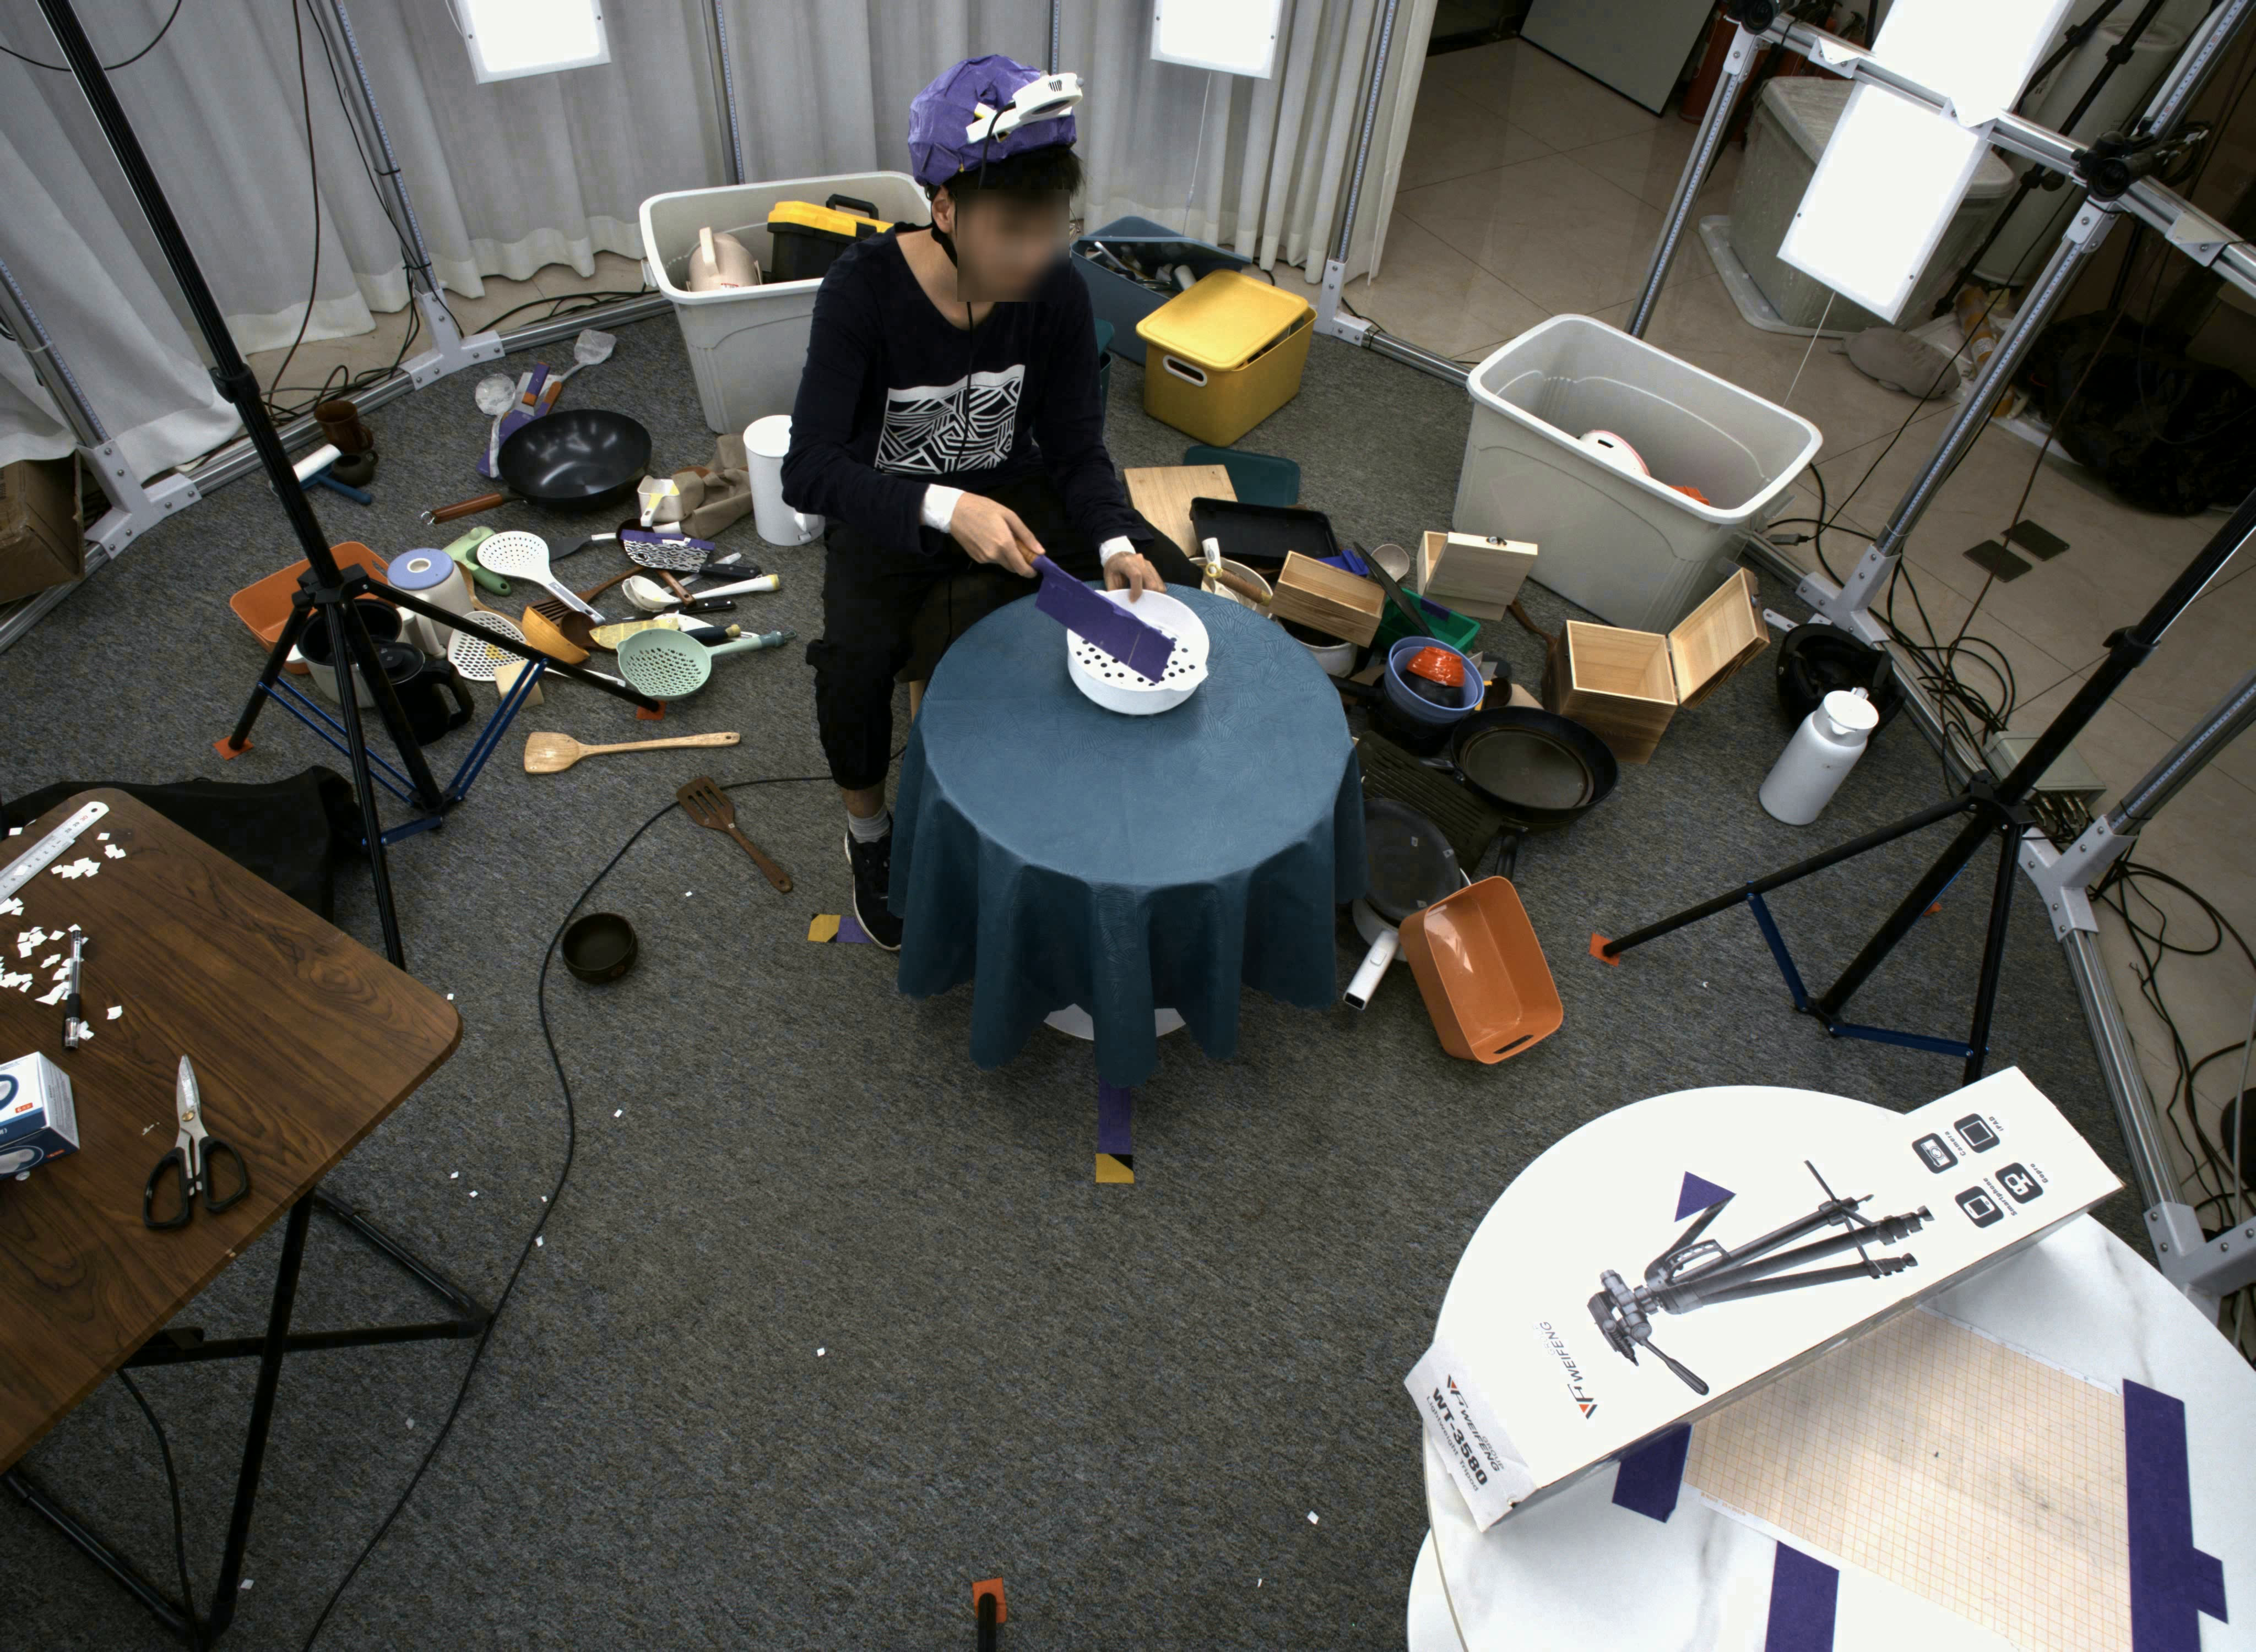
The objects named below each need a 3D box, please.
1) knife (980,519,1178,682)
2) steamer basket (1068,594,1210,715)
[{"bbox_3d":[-0.076,-0.303,1.768,0.316,0.102,0.033,35,51,7],"label":"knife"},{"bbox_3d":[0.015,-0.244,1.833,0.234,0.067,0.204,37,56,26],"label":"steamer basket"}]
